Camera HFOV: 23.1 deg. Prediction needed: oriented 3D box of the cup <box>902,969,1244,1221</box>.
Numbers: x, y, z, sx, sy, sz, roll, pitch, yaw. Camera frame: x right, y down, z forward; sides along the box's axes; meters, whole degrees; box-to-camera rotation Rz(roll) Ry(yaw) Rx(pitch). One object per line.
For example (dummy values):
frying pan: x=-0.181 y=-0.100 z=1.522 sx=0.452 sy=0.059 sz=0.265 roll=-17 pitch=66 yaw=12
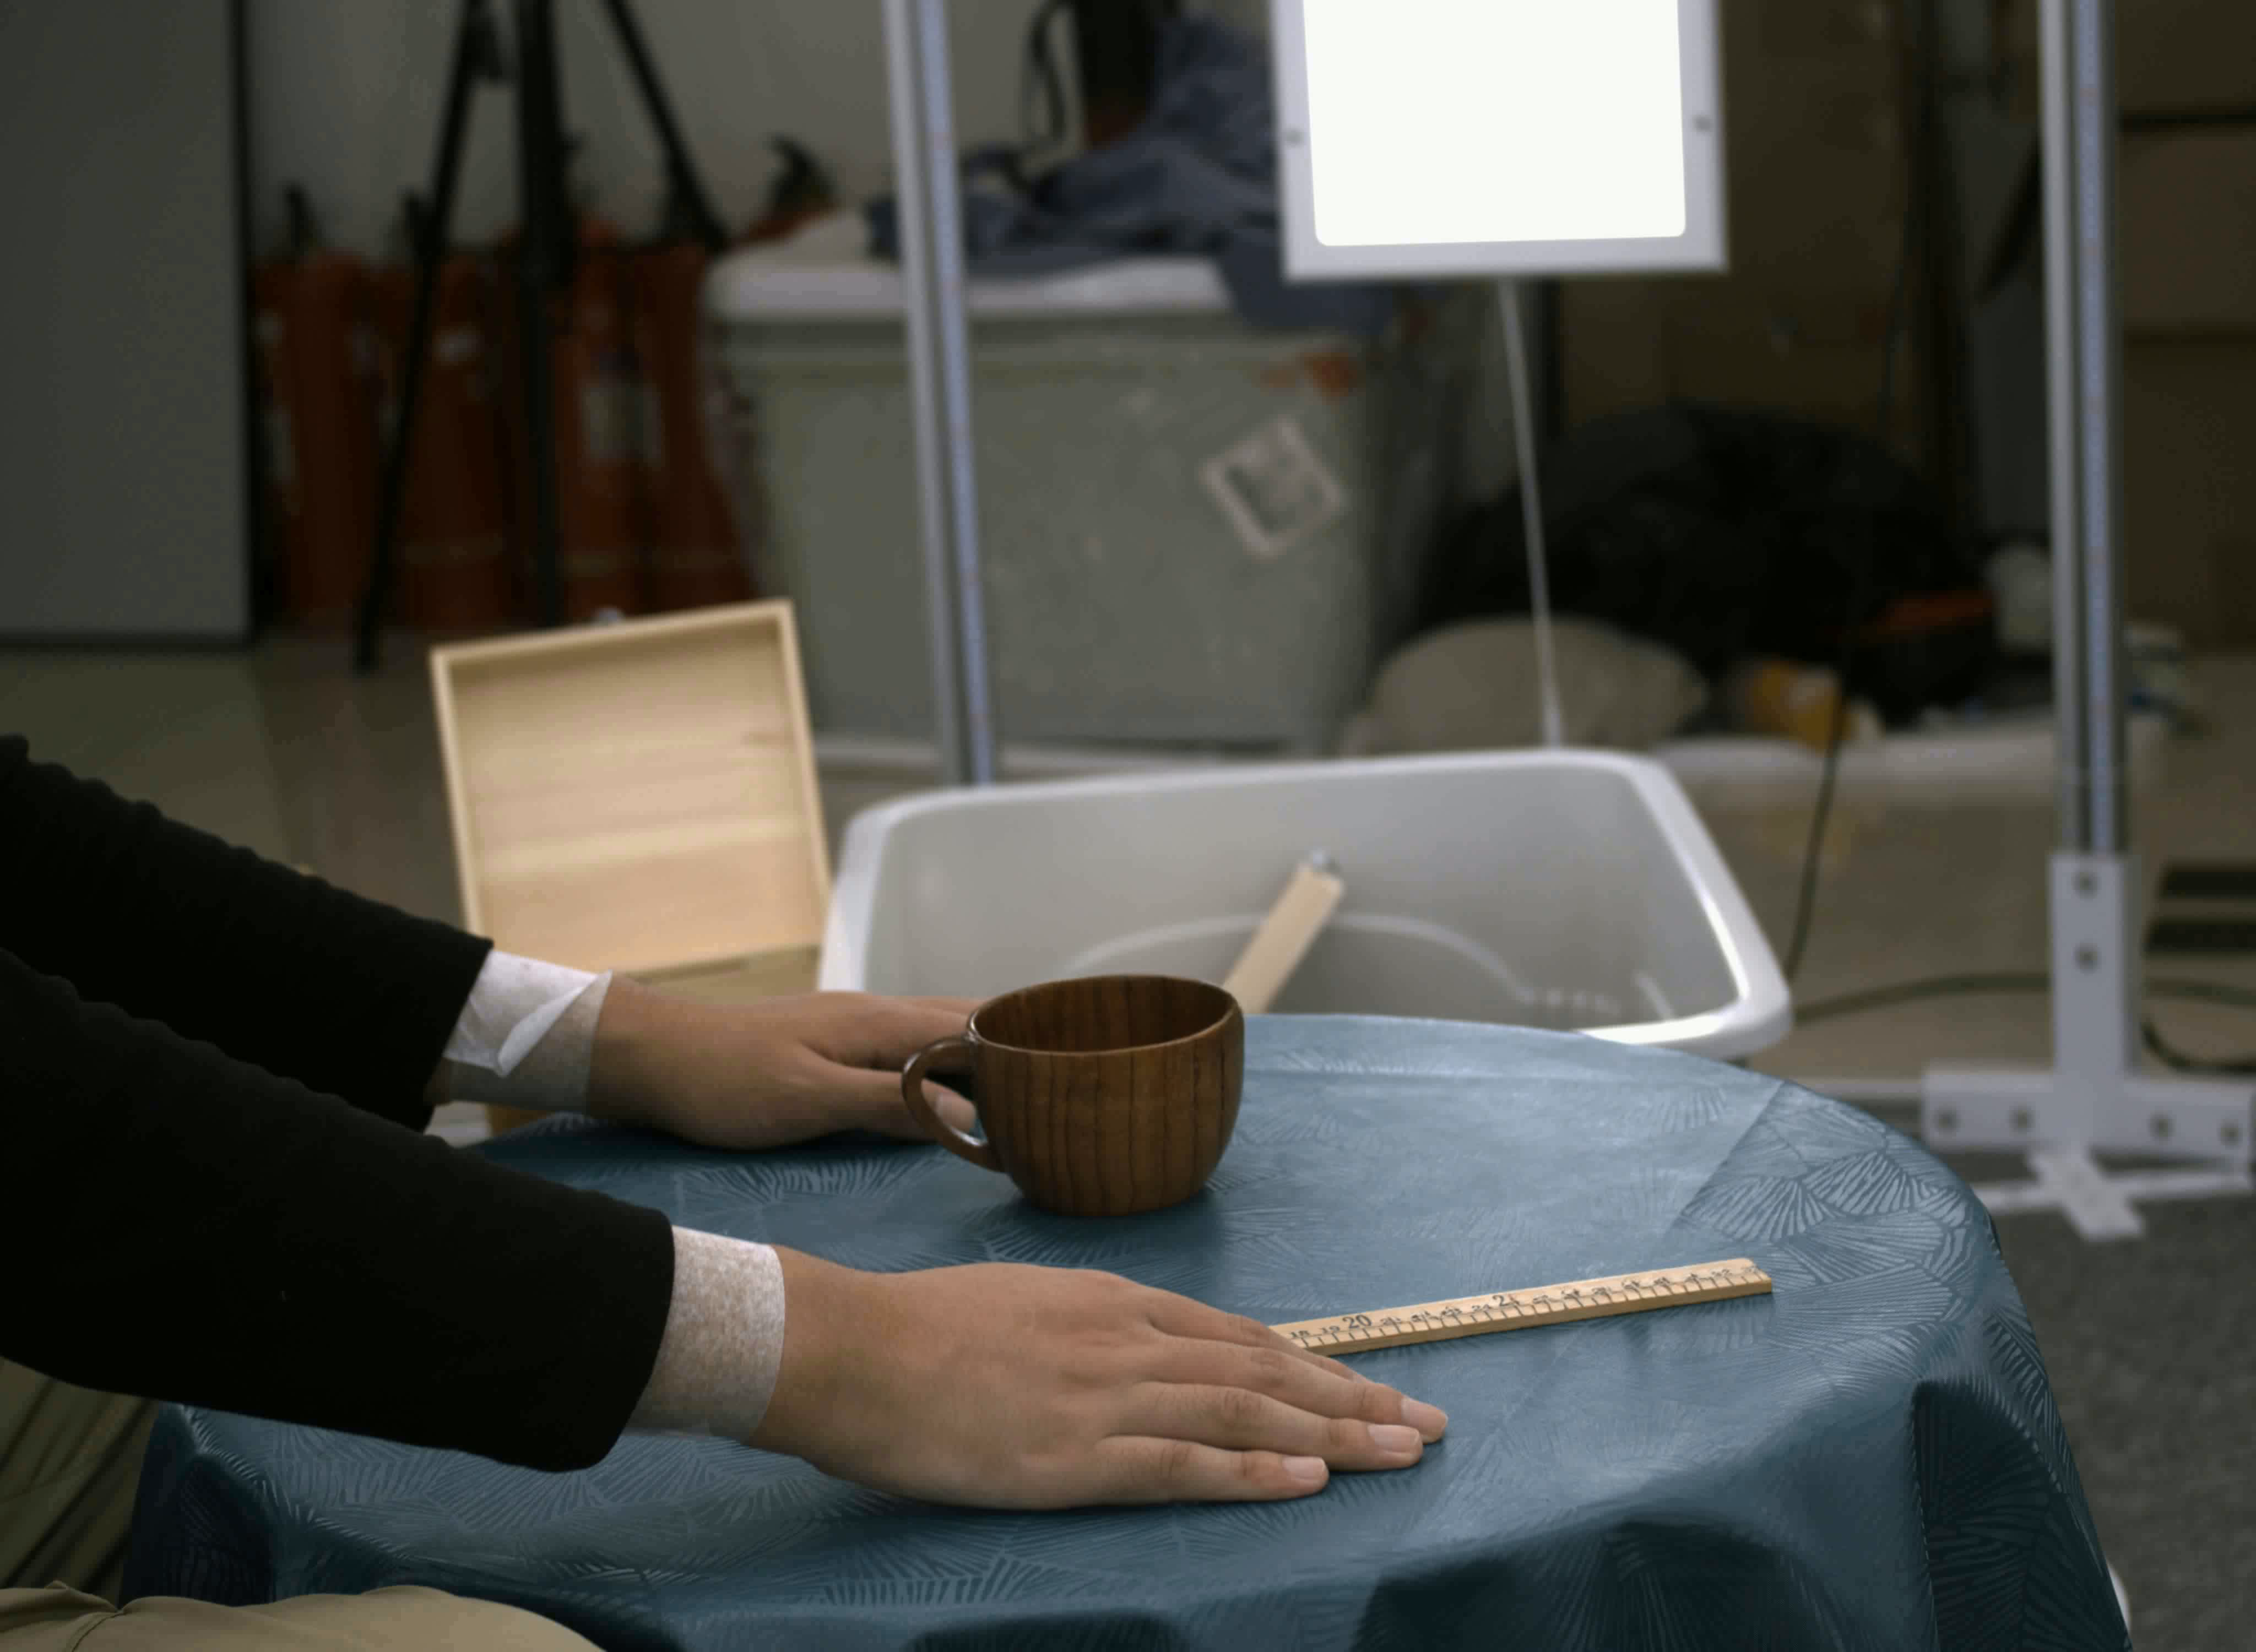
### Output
cup: x=-0.018 y=0.096 z=1.895 sx=0.119 sy=0.068 sz=0.096 roll=-7 pitch=16 yaw=-4

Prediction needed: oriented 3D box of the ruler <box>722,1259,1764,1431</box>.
ruler: x=0.038 y=0.161 z=1.723 sx=0.329 sy=0.022 sz=0.027 roll=-6 pitch=9 yaw=-7
